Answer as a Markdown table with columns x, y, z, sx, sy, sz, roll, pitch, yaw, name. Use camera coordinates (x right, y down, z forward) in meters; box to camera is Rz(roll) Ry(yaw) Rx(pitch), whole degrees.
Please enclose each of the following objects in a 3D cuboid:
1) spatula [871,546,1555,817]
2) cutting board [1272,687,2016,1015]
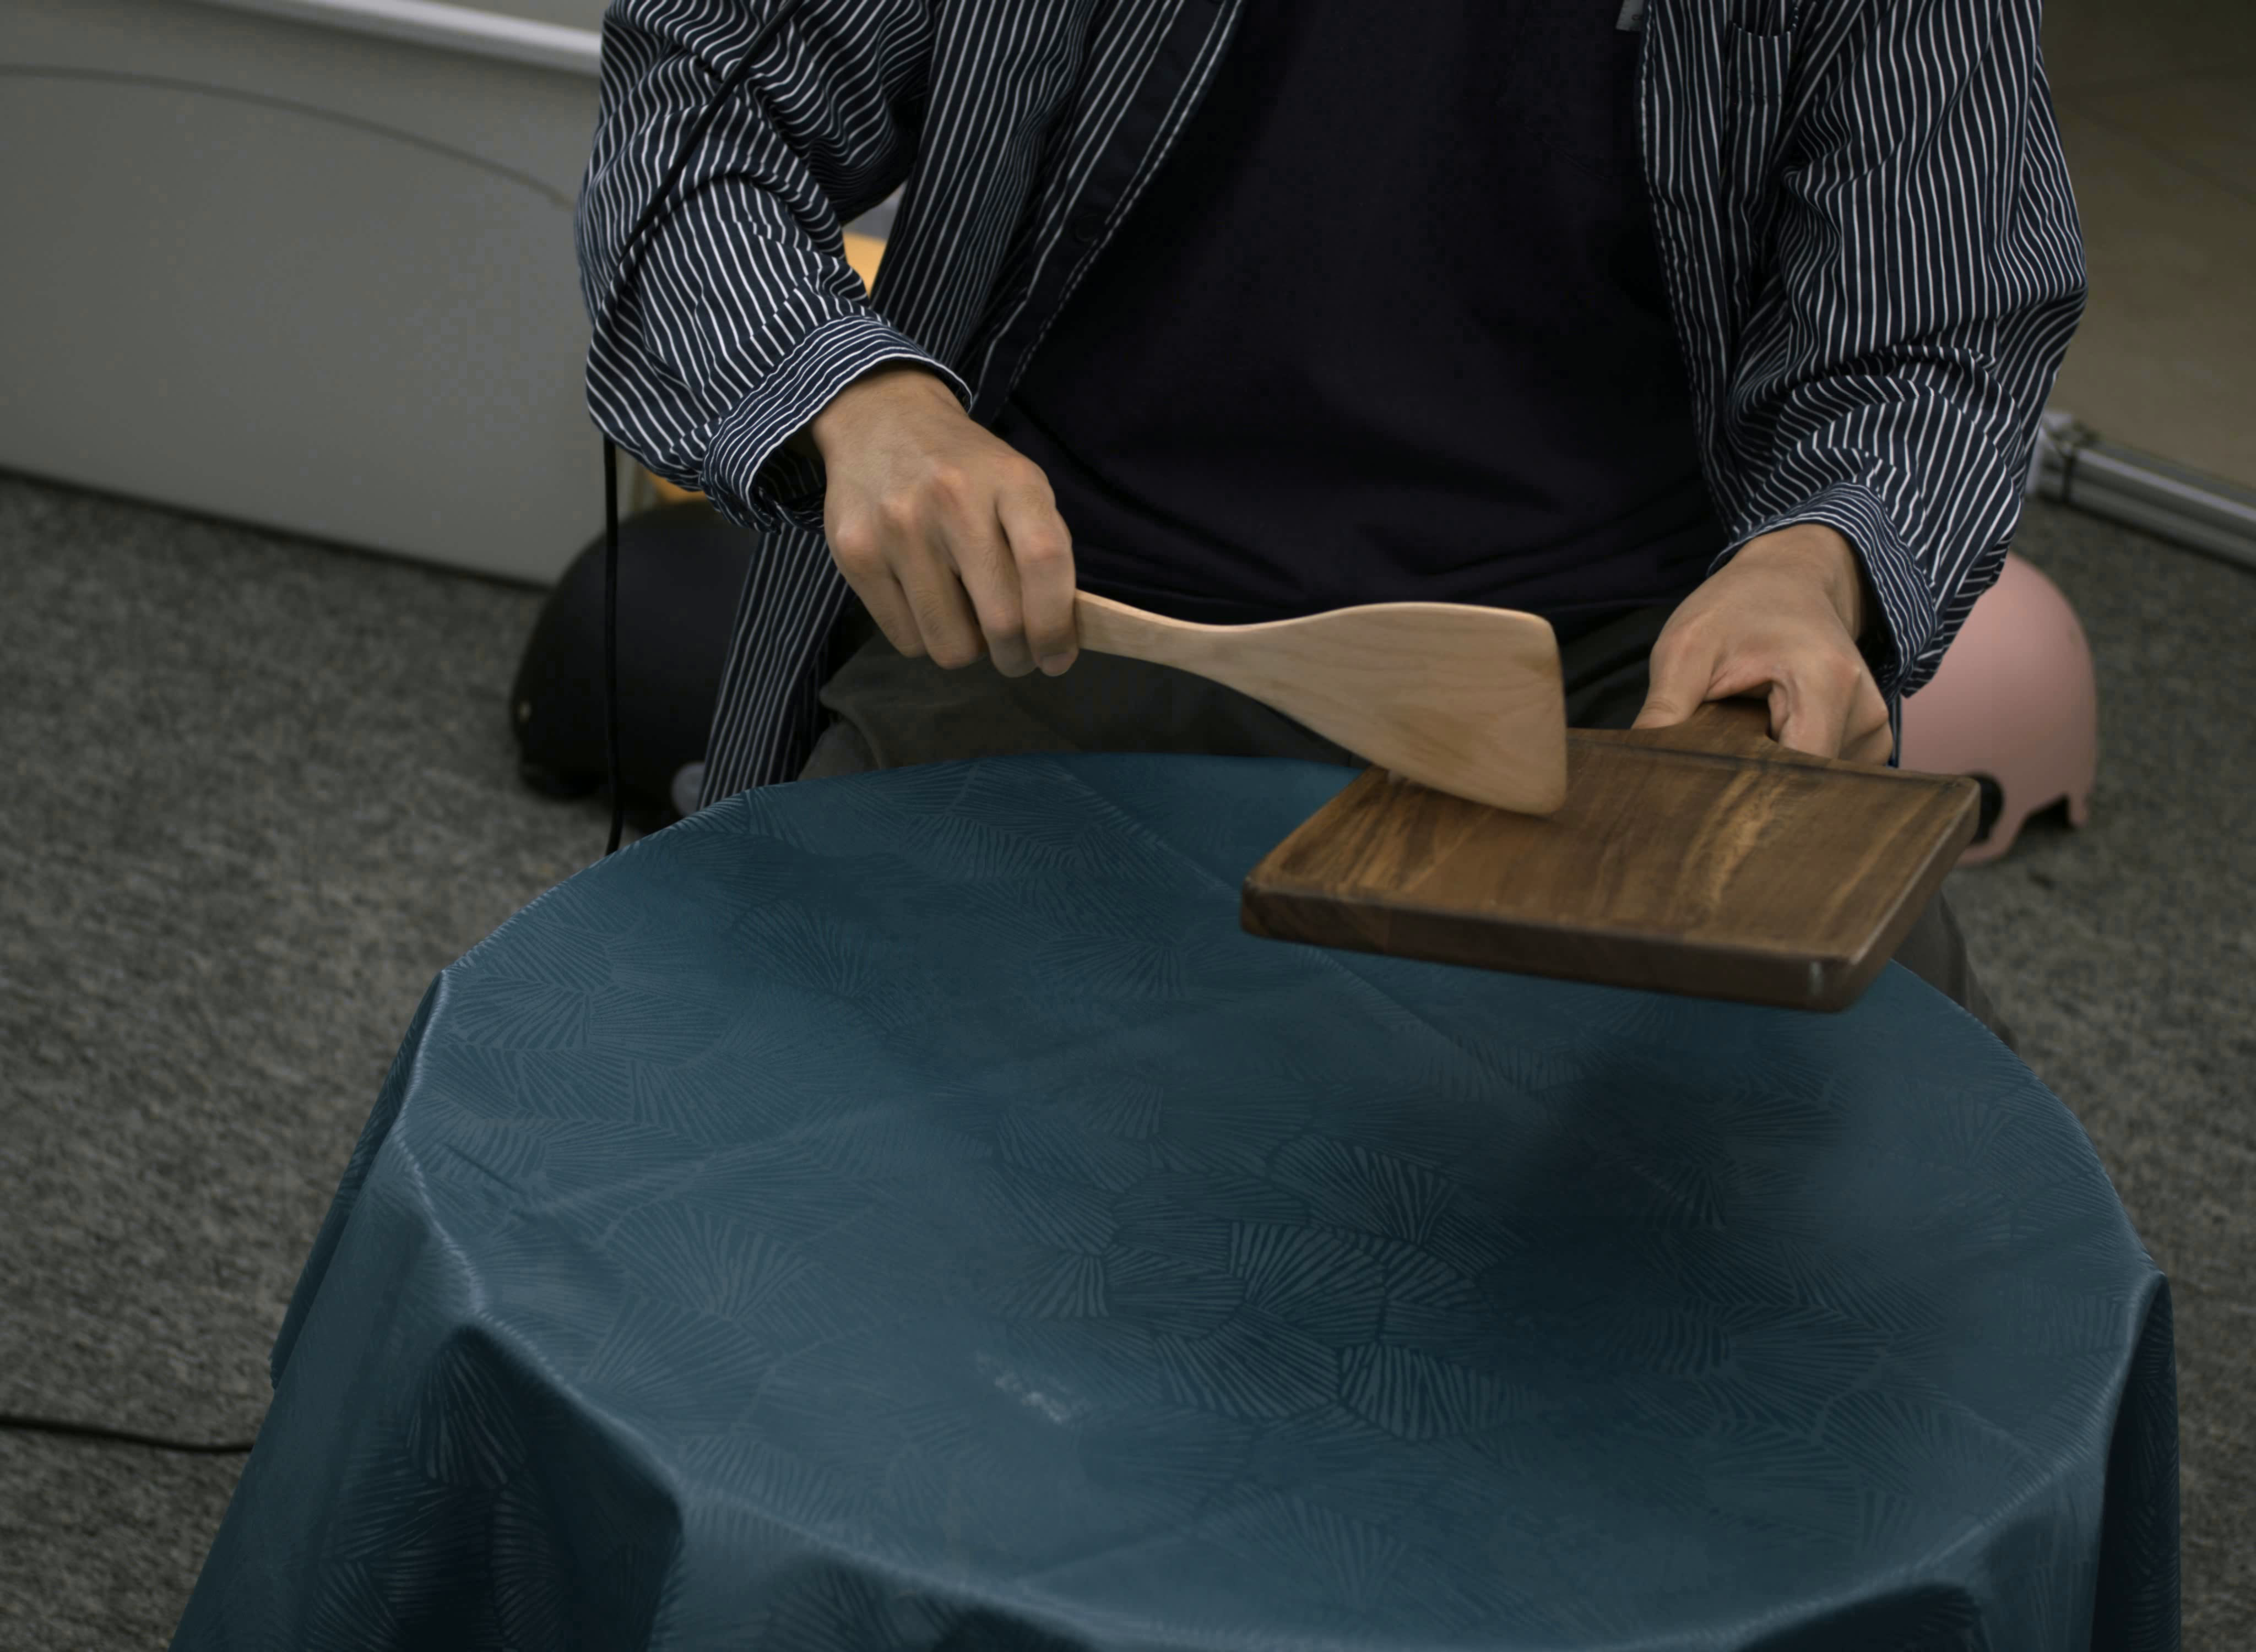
| x | y | z | sx | sy | sz | roll | pitch | yaw | name |
| --- | --- | --- | --- | --- | --- | --- | --- | --- | --- |
| 0.024 | -0.061 | 1.842 | 0.016 | 0.079 | 0.330 | -34 | 33 | -33 | spatula |
| 0.189 | -0.001 | 1.780 | 0.201 | 0.023 | 0.352 | 7 | 15 | 17 | cutting board |
